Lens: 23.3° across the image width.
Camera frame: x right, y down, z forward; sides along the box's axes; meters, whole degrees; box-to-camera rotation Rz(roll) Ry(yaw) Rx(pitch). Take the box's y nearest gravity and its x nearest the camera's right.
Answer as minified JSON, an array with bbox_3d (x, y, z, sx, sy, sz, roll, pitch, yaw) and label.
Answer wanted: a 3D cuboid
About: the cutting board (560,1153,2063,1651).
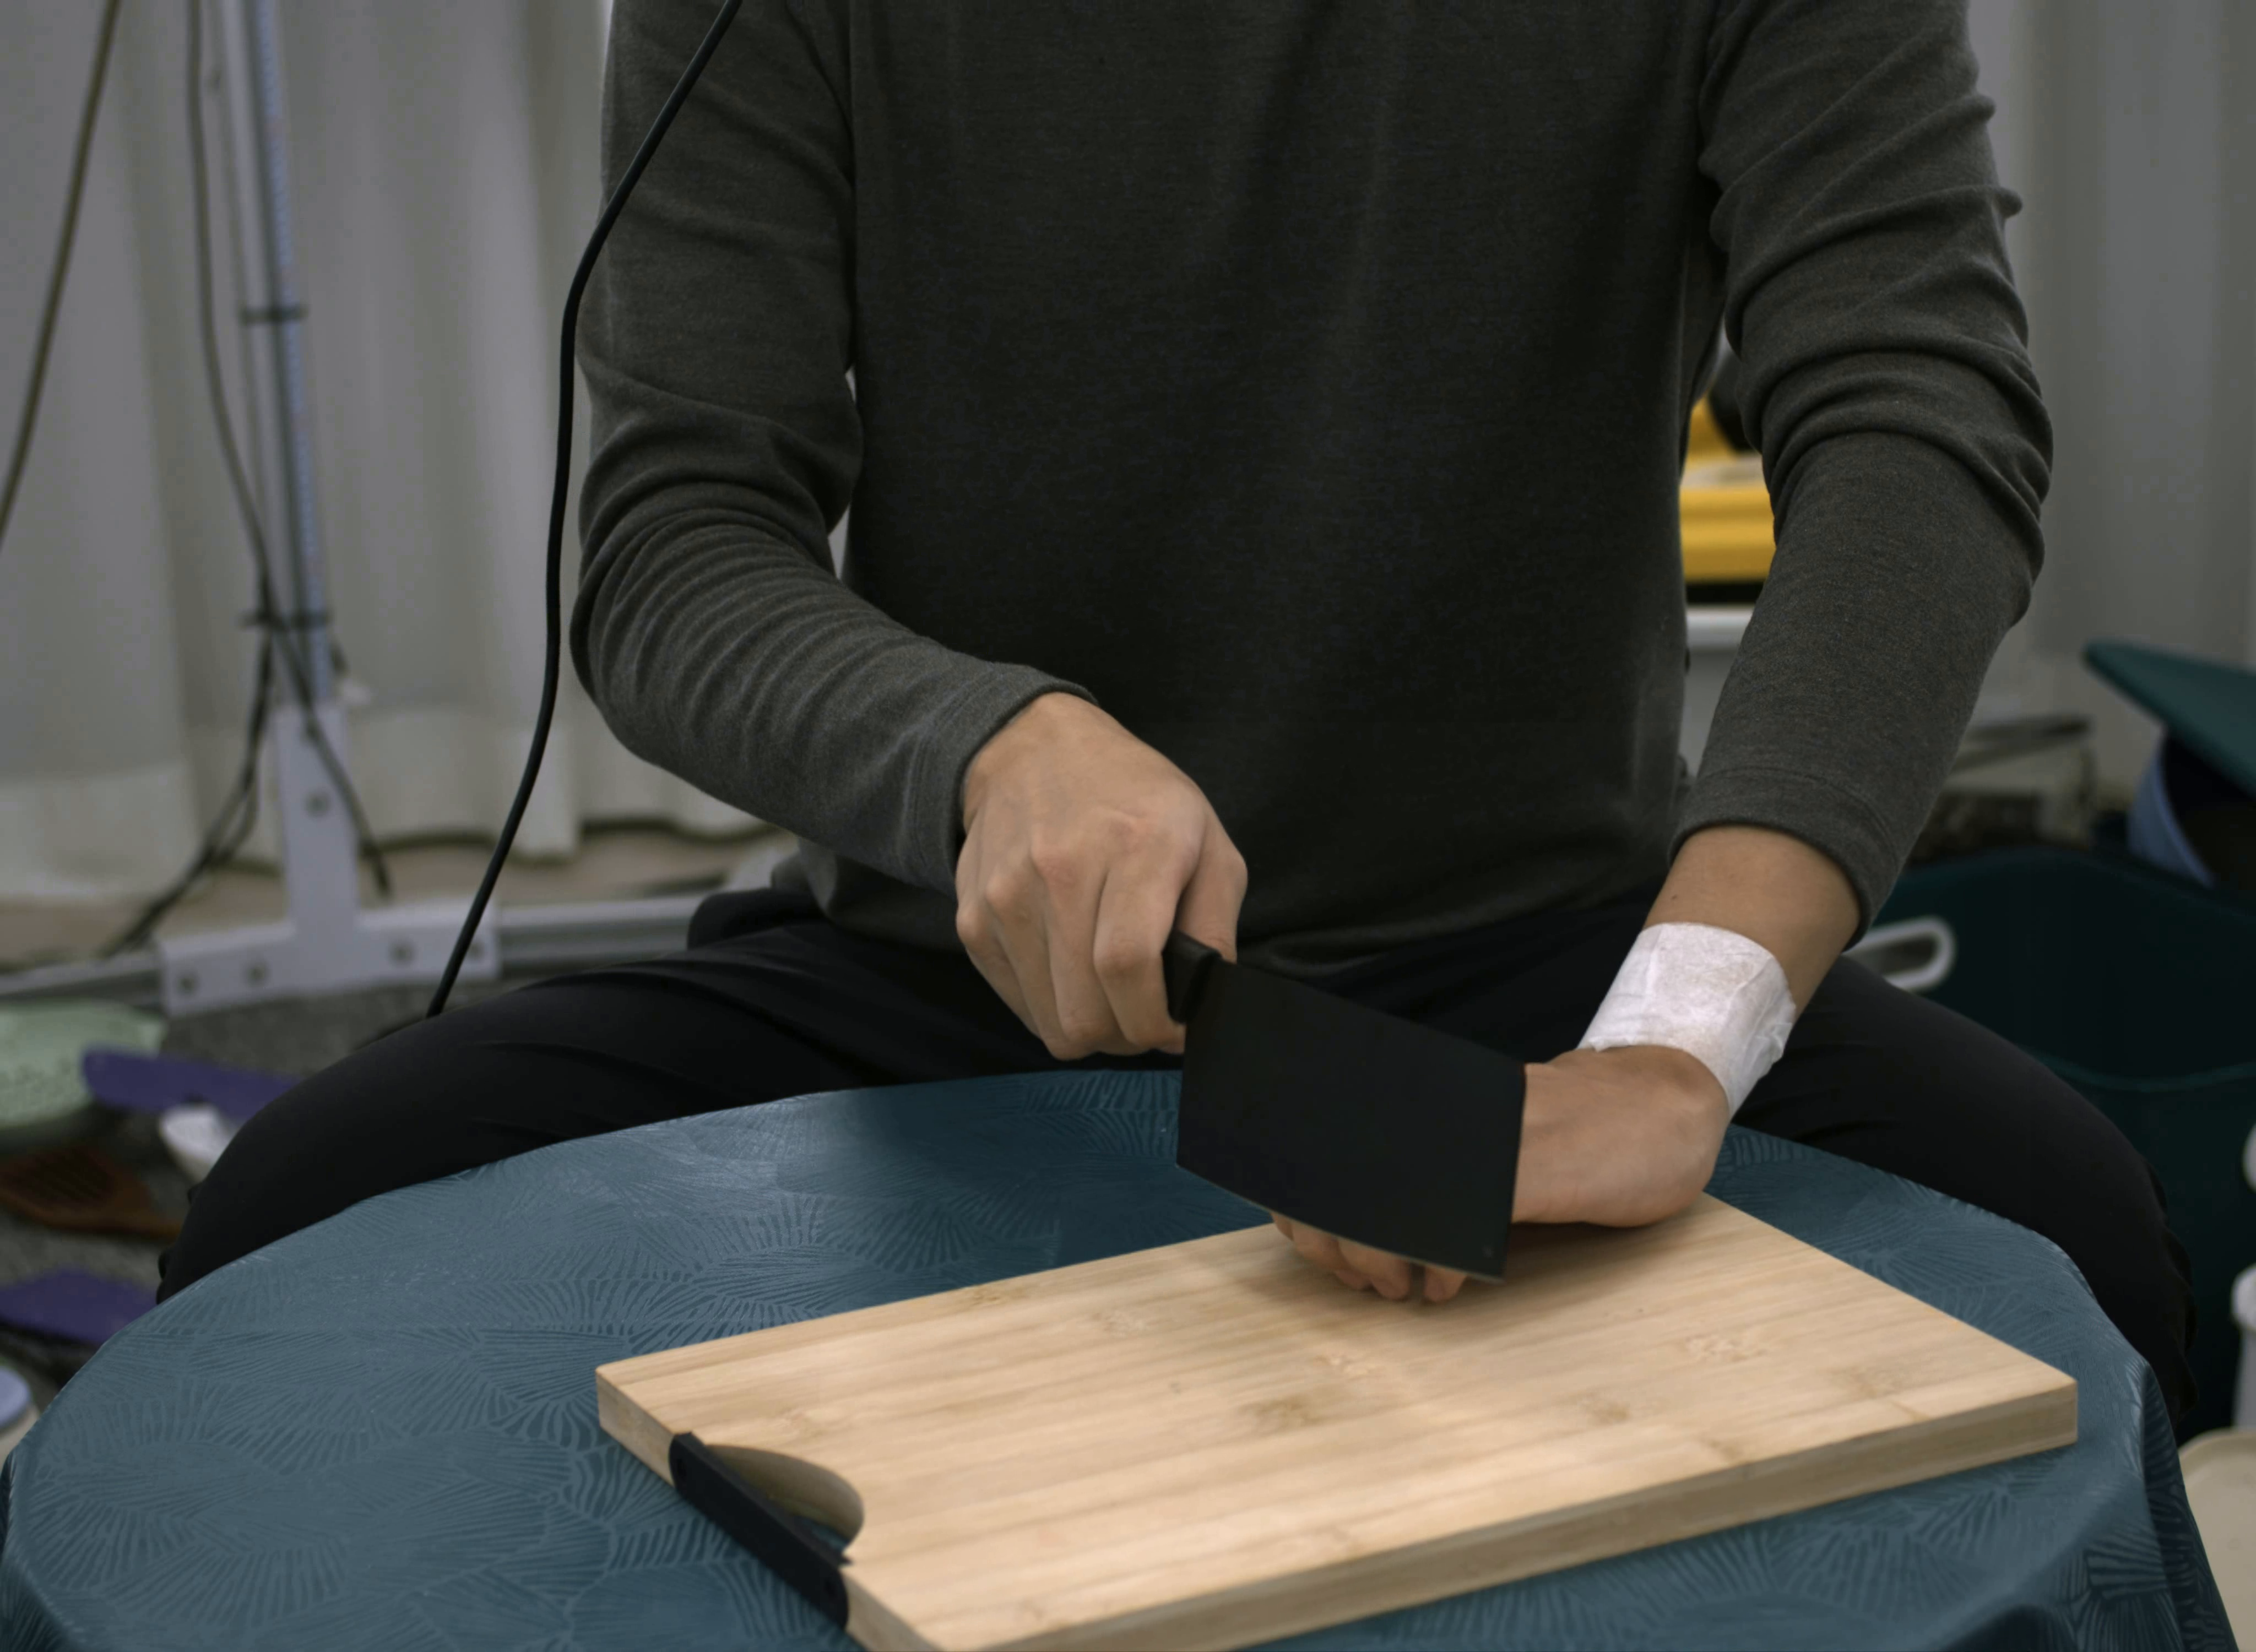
[{"bbox_3d":[0.049,0.161,1.503,0.347,0.023,0.252,-10,16,-26],"label":"cutting board"}]

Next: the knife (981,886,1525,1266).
[{"bbox_3d":[0.032,0.066,1.578,0.021,0.081,0.304,4,10,-29],"label":"knife"}]
